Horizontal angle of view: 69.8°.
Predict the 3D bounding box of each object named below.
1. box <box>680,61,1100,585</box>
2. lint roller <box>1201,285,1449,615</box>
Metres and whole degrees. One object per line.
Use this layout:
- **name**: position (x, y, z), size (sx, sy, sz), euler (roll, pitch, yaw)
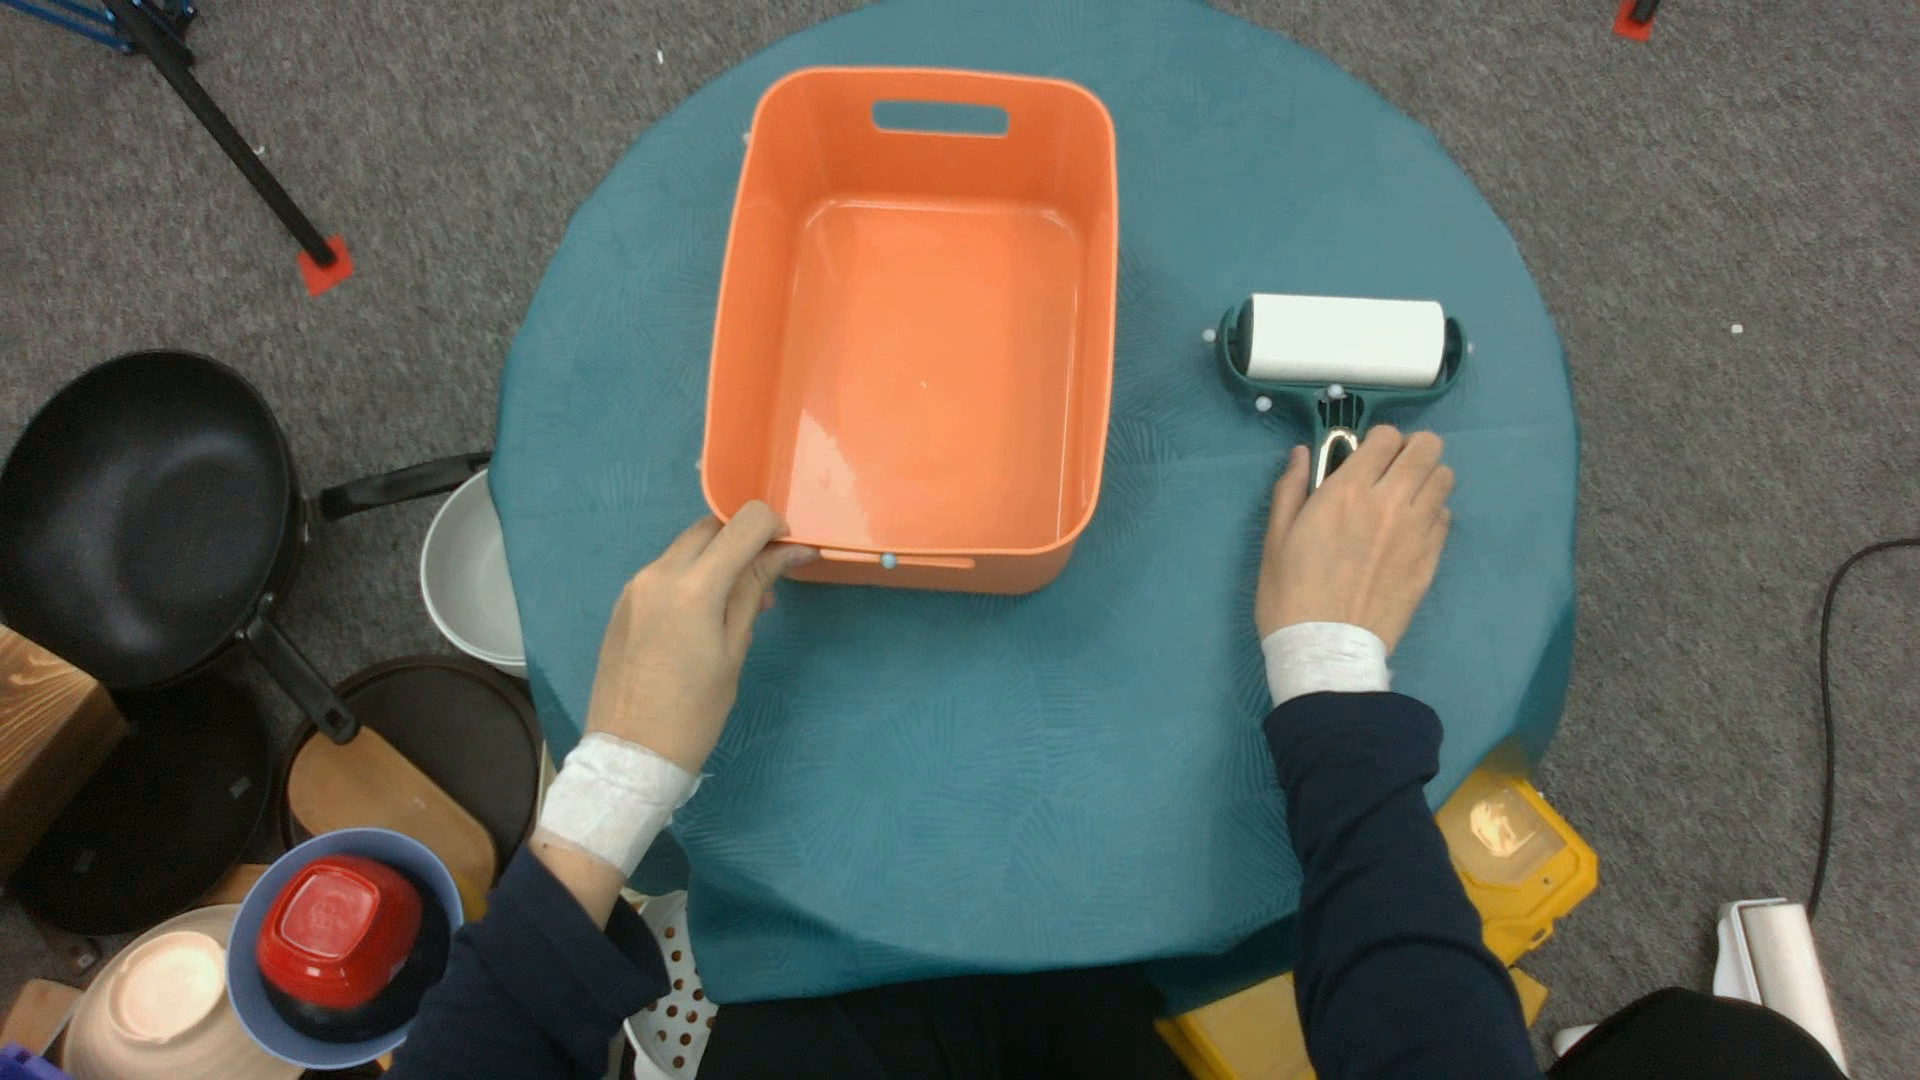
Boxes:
- **box**: position (-0.029, -0.109, 0.727), size (0.199, 0.102, 0.274), euler (3, 69, 2)
- **lint roller**: position (0.196, -0.052, 0.734), size (0.134, 0.048, 0.180), euler (2, 69, 1)
